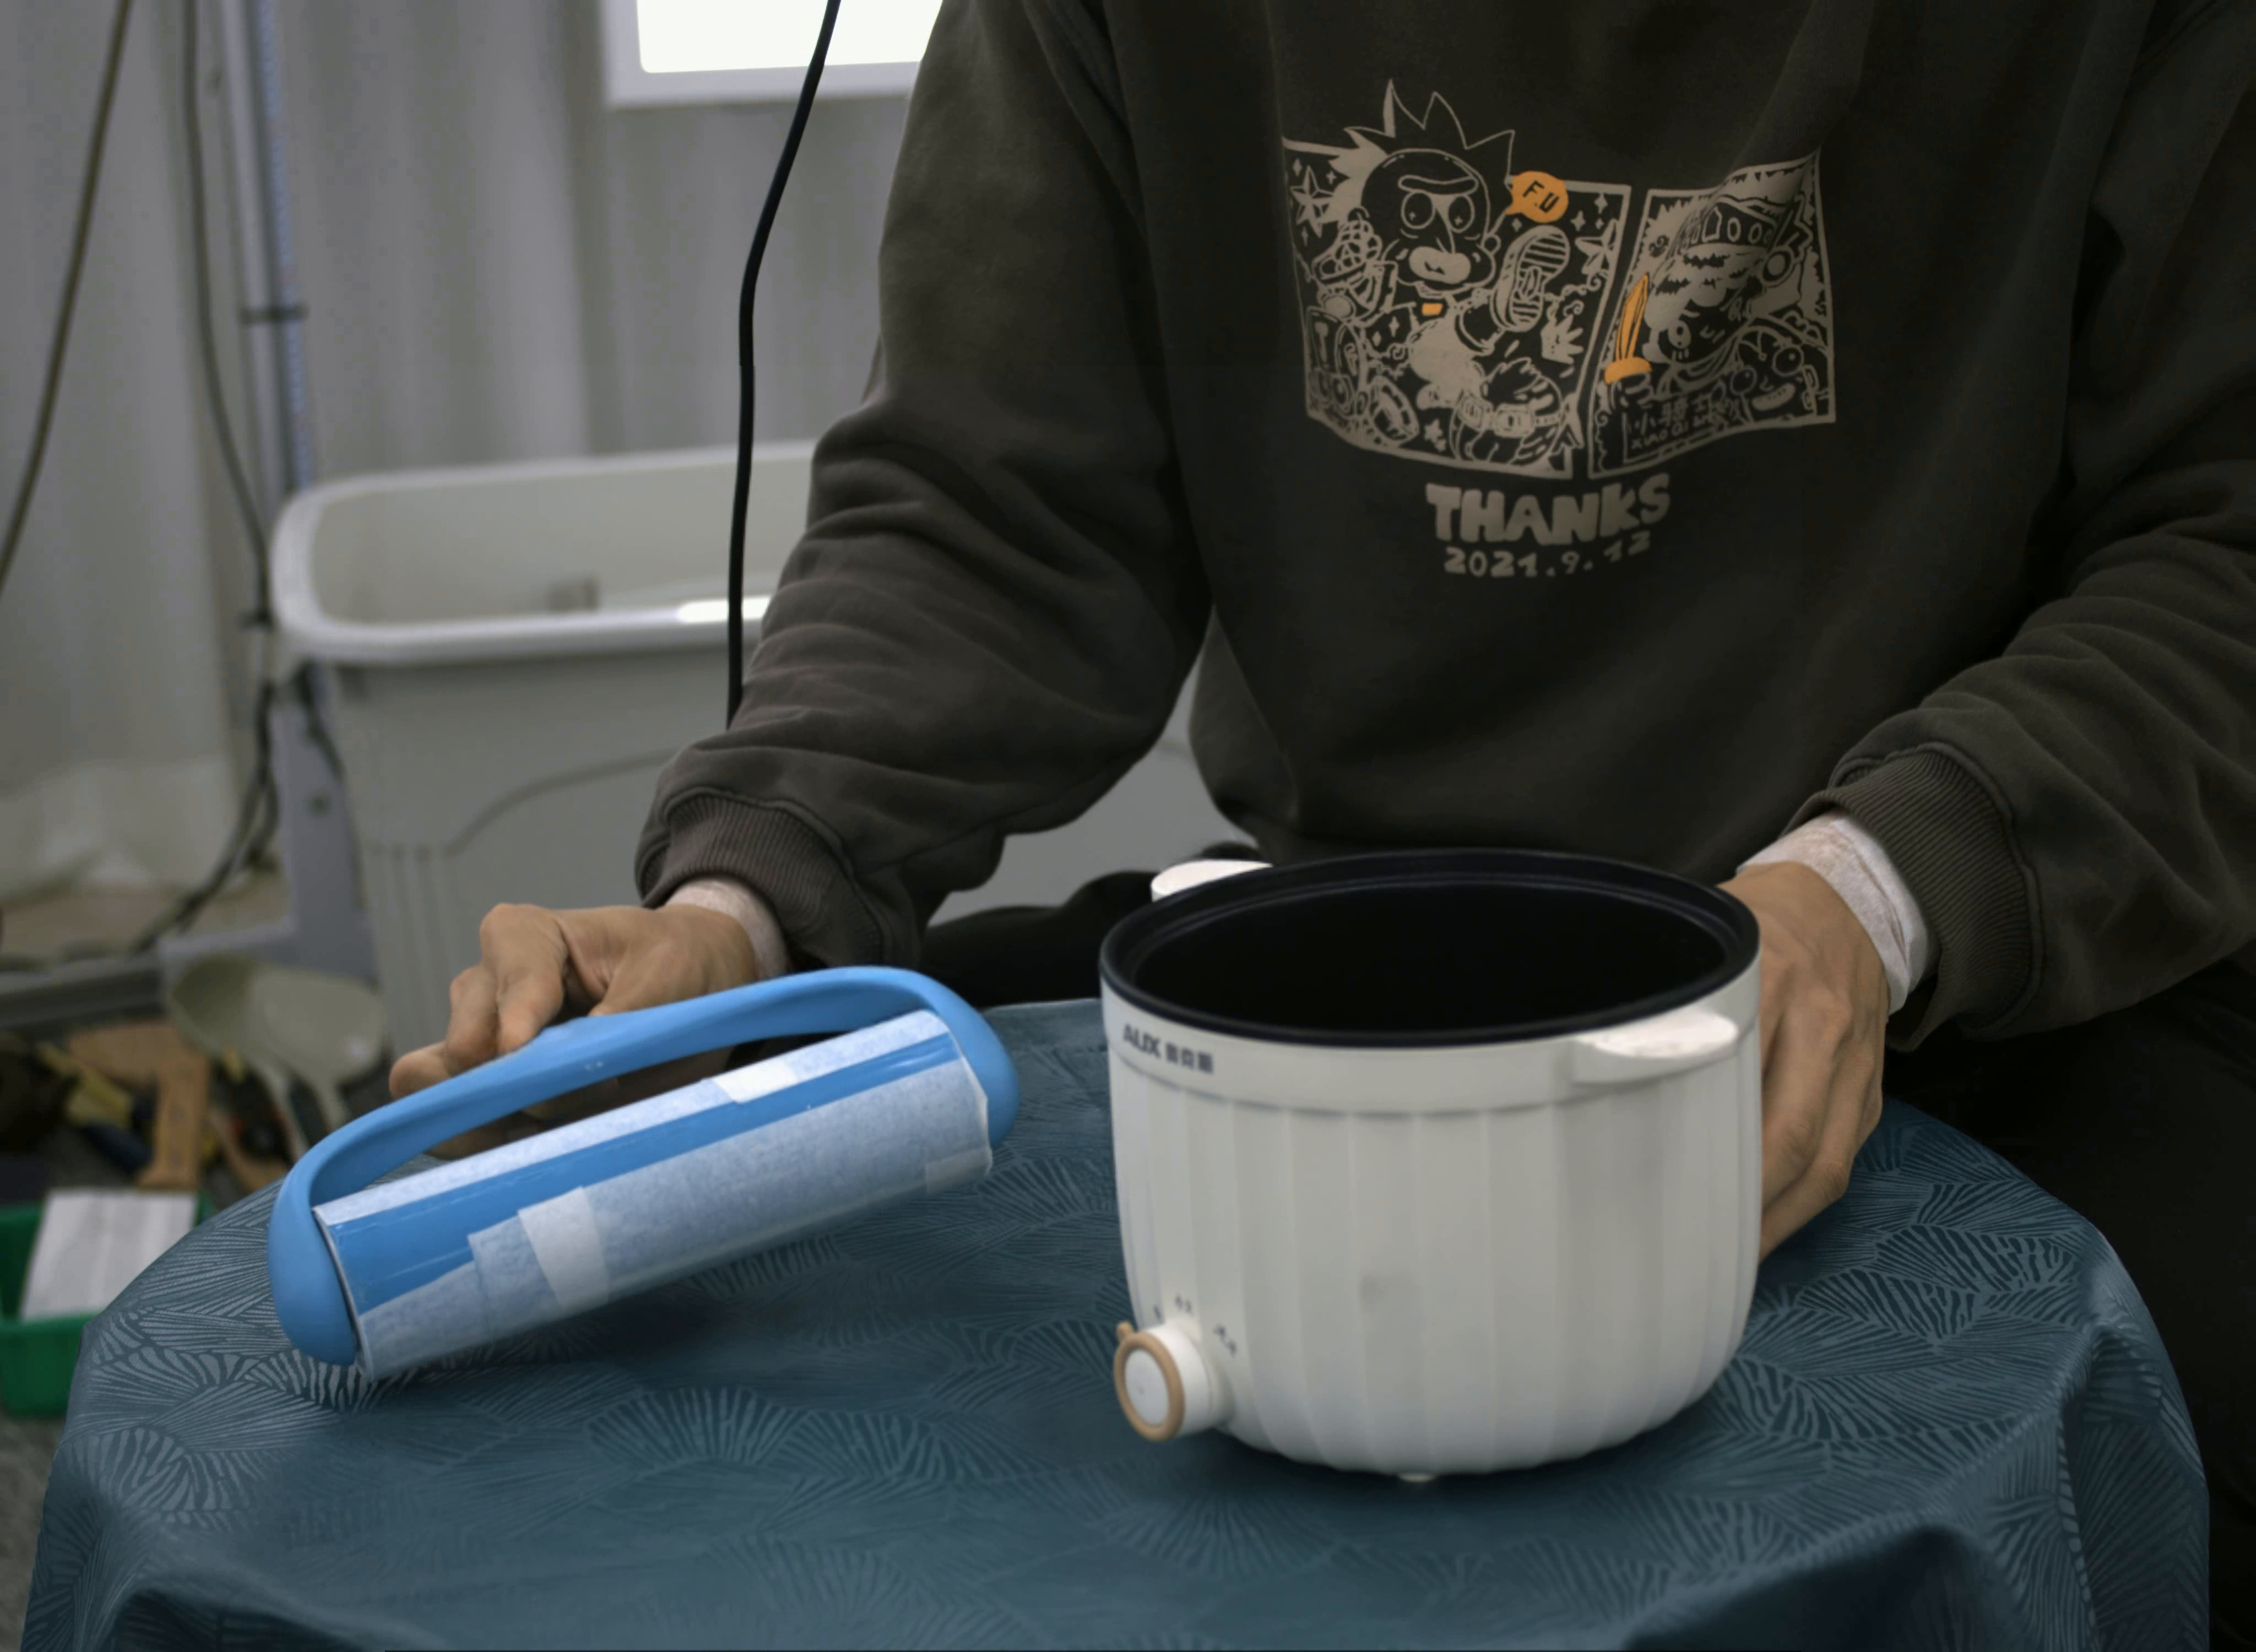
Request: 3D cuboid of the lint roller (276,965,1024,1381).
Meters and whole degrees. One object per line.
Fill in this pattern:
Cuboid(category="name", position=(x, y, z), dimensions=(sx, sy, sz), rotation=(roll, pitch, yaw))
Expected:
Cuboid(category="lint roller", position=(-0.161, 0.090, 1.657), dimensions=(0.228, 0.067, 0.182), rotation=(-20, 22, -18))

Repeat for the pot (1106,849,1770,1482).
Cuboid(category="pot", position=(0.083, 0.096, 1.510), dimensions=(0.189, 0.142, 0.242), rotation=(-9, 14, -34))
